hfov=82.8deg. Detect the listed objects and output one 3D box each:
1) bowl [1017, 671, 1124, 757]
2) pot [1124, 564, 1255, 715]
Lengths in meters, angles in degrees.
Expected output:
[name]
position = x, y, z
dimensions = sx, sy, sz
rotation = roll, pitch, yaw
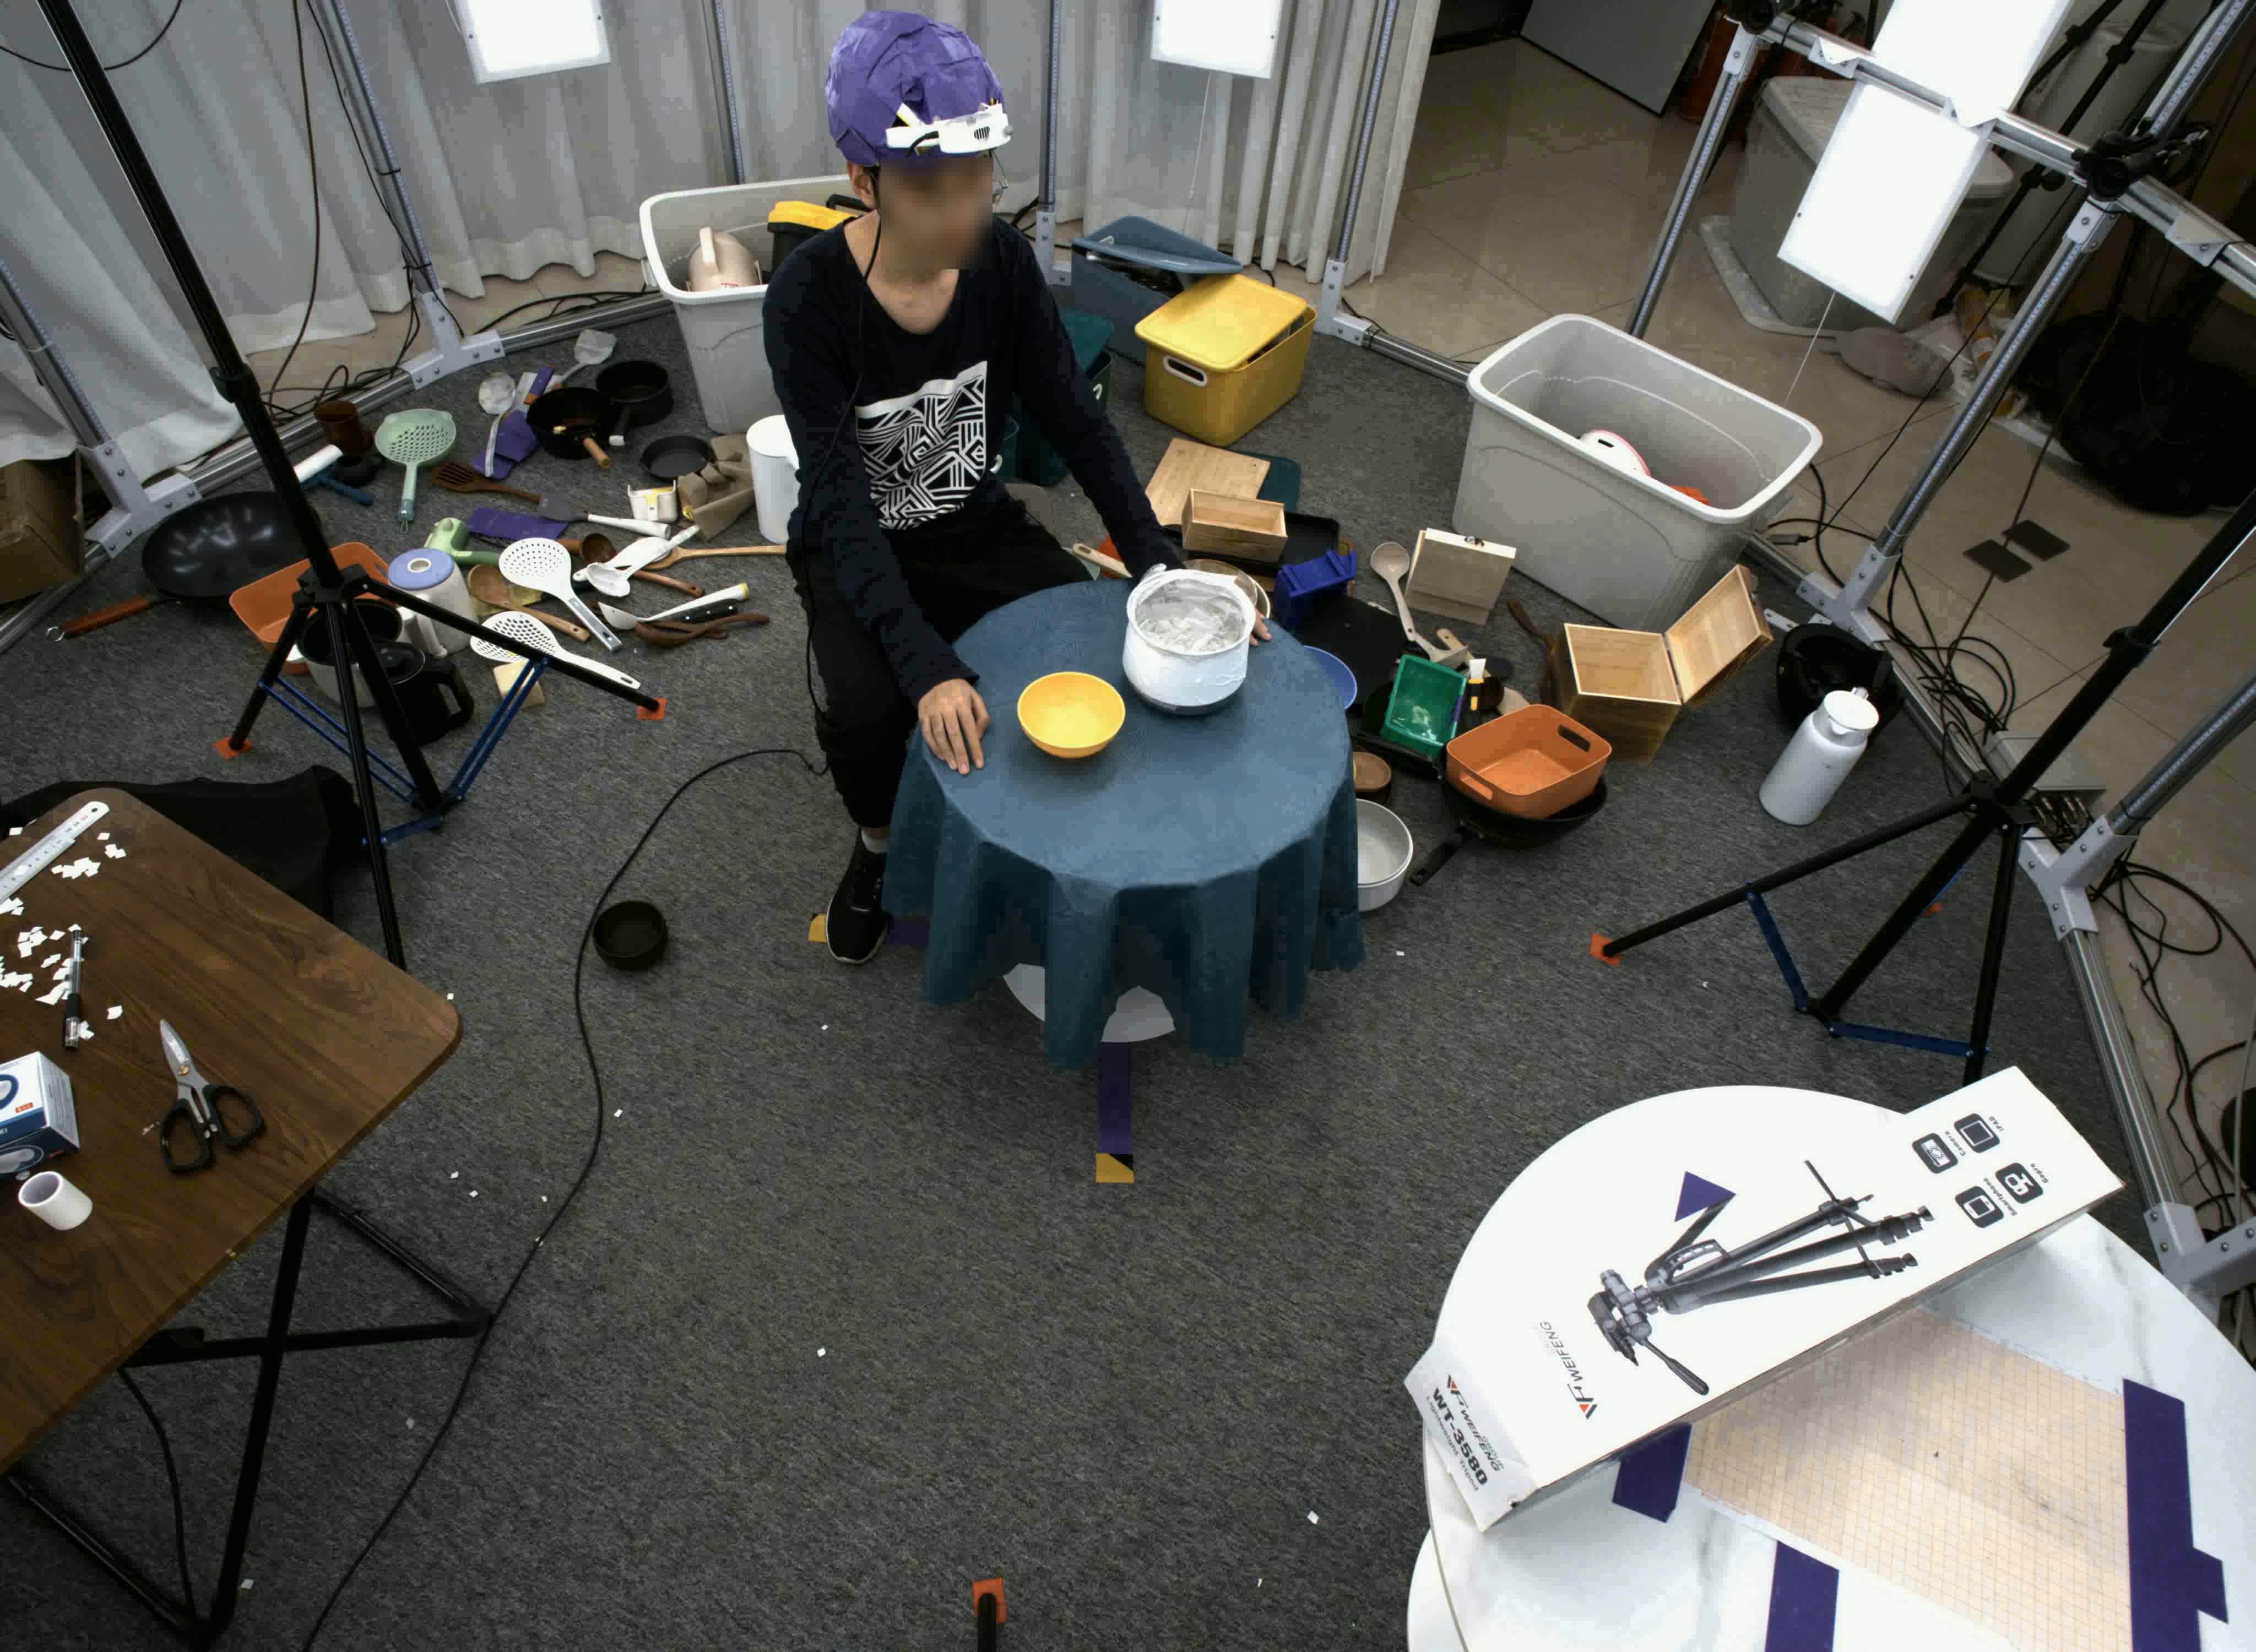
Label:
[bowl]
position = -0.080, -0.141, 1.744
dimensions = 0.145, 0.059, 0.149
rotation = 3, 50, -4
[pot]
position = 0.072, -0.274, 1.824
dimensions = 0.179, 0.133, 0.239
rotation = -17, 51, -18
